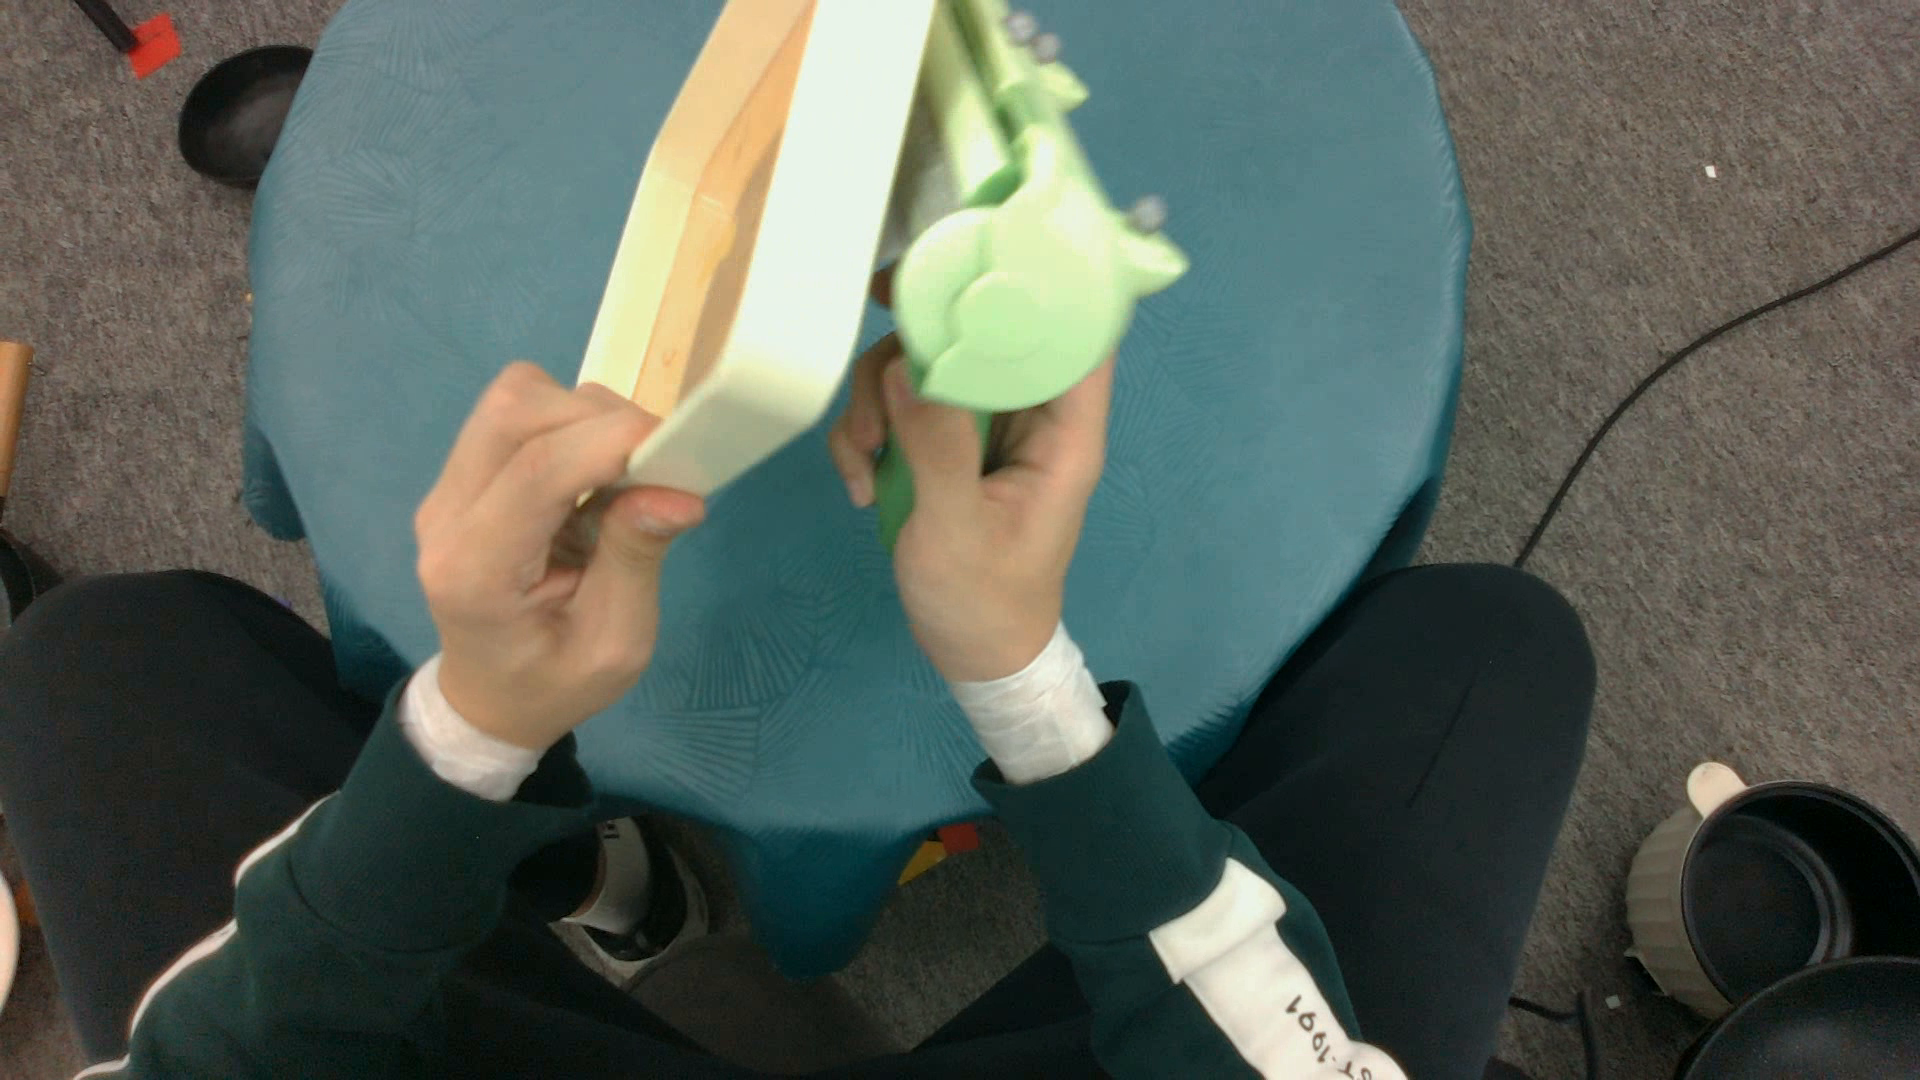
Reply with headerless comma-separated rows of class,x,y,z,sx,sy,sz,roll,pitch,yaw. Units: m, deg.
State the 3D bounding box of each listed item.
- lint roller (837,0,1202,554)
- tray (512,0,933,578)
lint roller,0.011,-0.073,0.407,0.082,0.182,0.199,-8,39,-6
tray,-0.085,-0.097,0.445,0.027,0.299,0.192,18,74,-23
